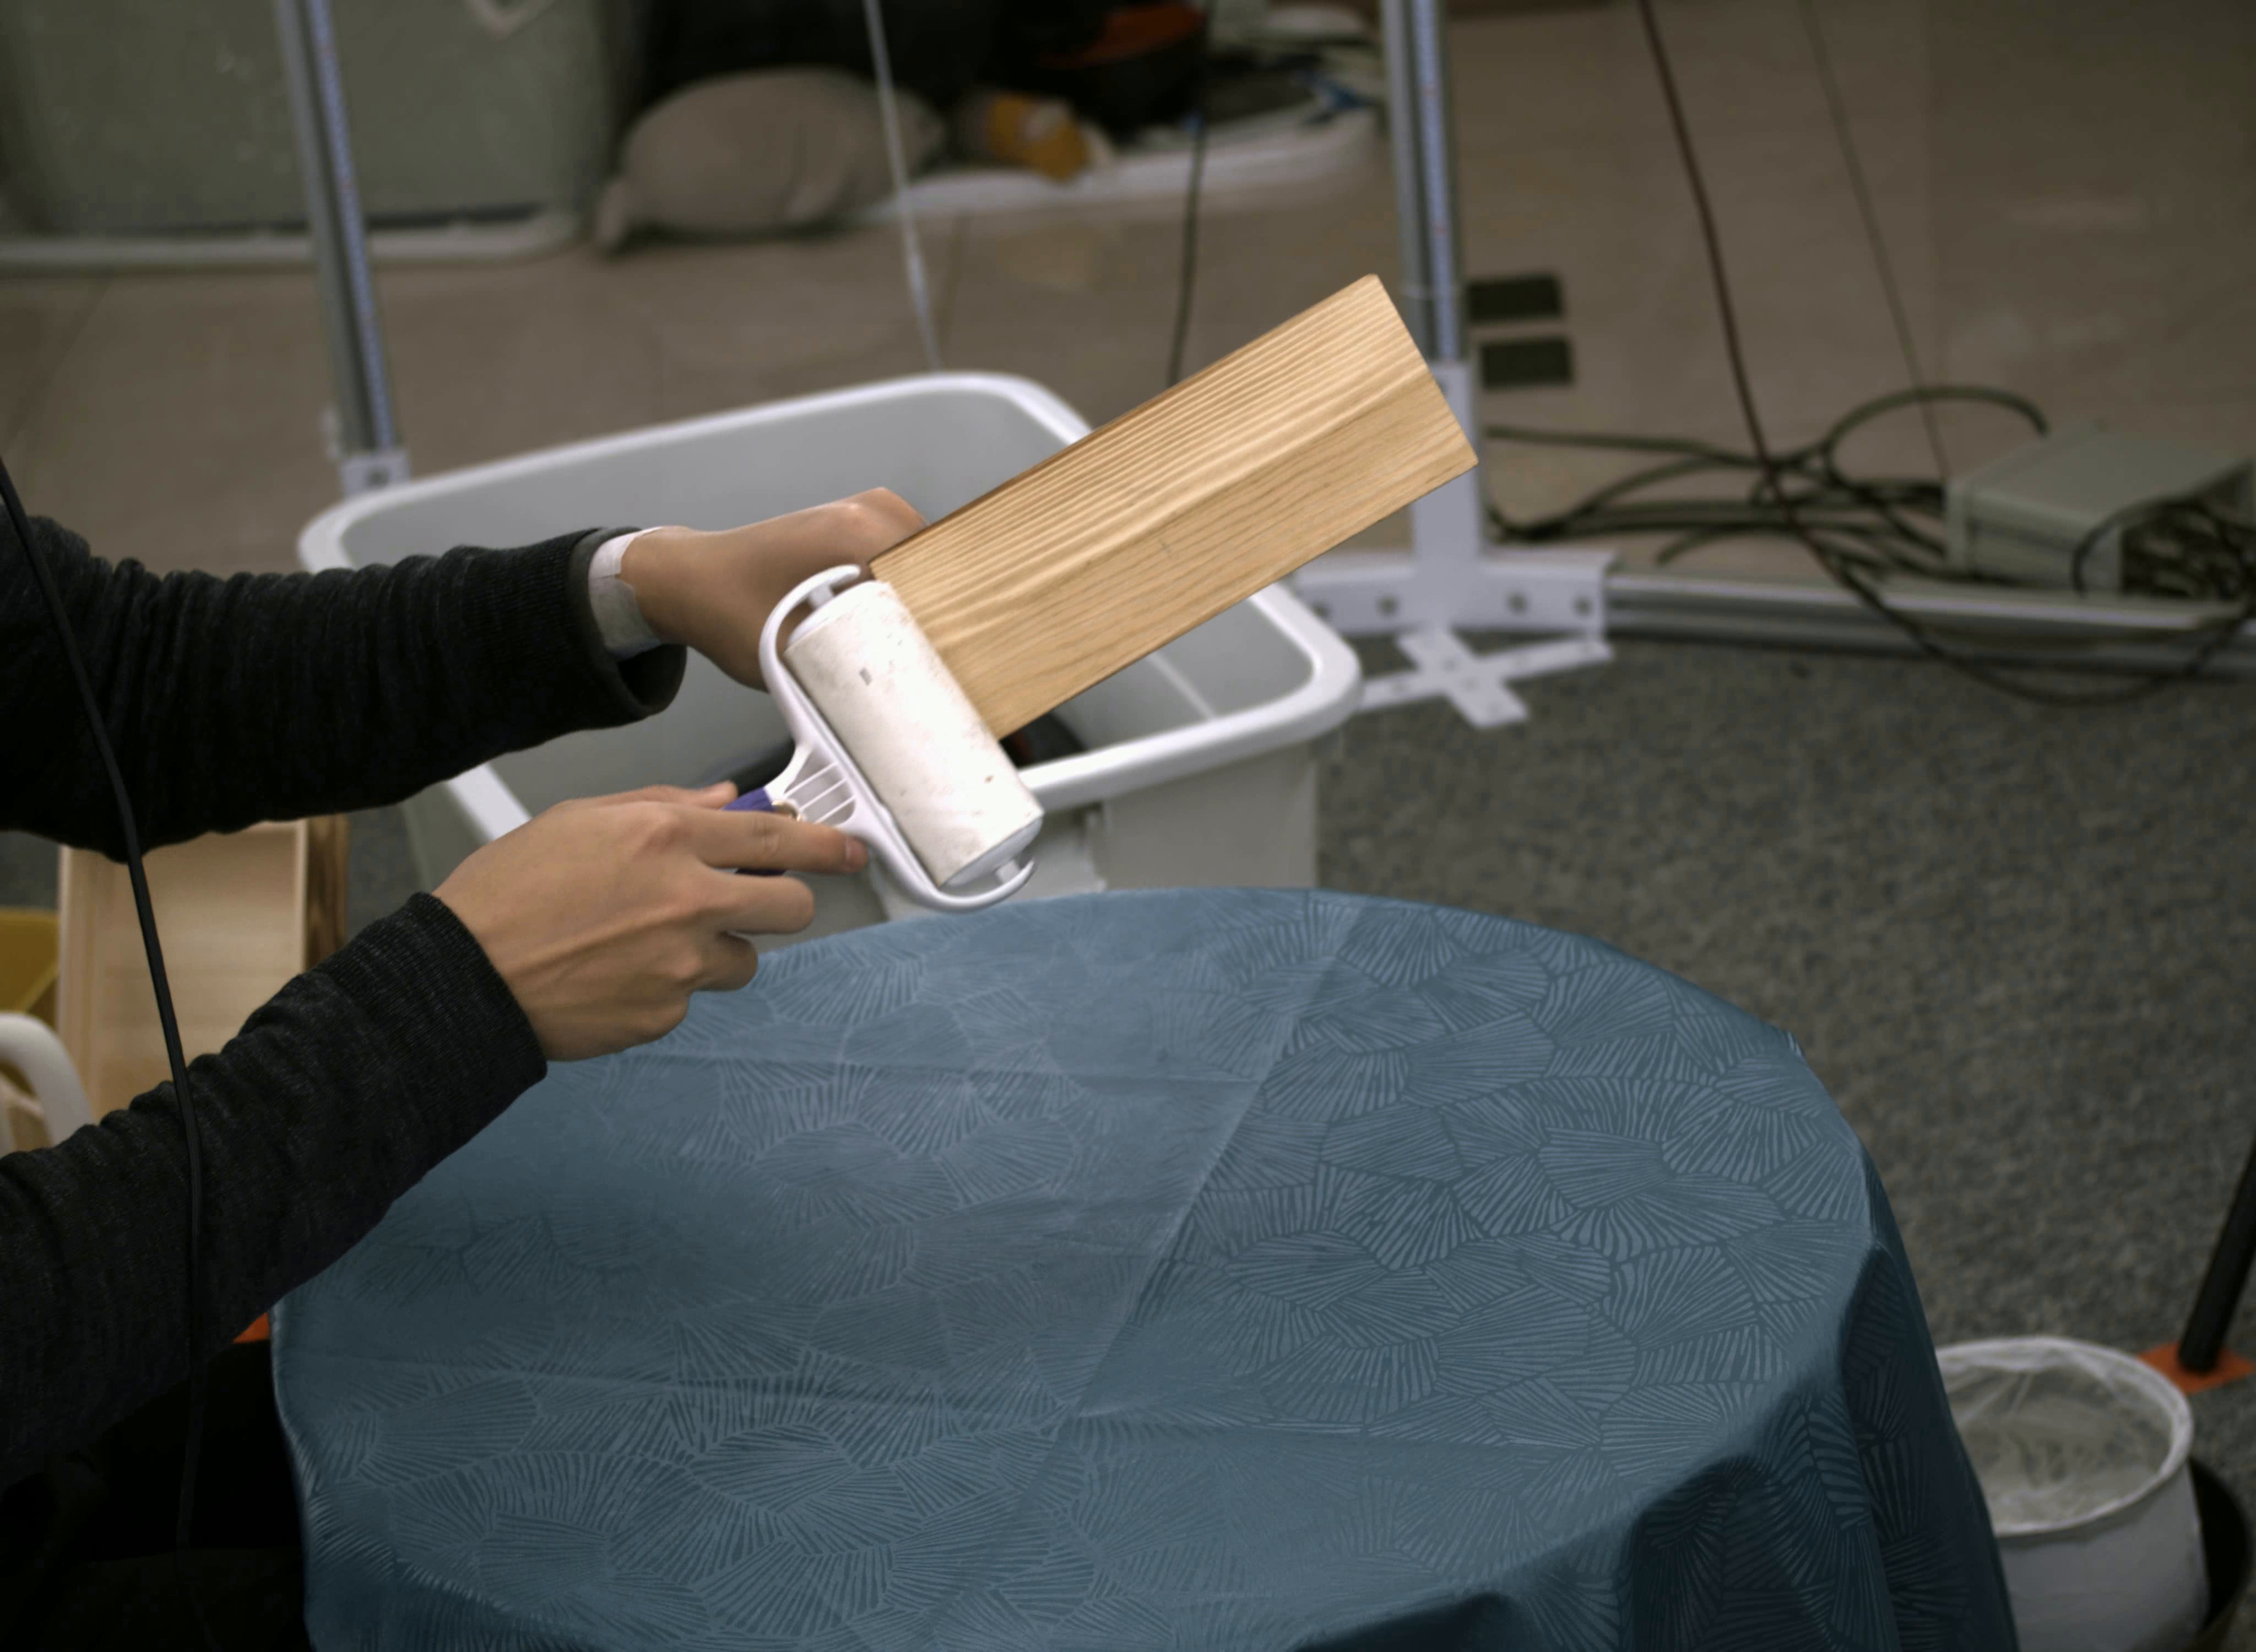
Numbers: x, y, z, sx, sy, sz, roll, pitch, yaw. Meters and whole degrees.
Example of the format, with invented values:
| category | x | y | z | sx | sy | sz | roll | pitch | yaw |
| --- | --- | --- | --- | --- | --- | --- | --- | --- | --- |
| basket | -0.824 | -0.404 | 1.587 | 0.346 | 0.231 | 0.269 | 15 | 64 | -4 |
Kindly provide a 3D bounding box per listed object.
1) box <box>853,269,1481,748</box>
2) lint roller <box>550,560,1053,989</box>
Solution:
| category | x | y | z | sx | sy | sz | roll | pitch | yaw |
| --- | --- | --- | --- | --- | --- | --- | --- | --- | --- |
| box | 0.012 | -0.113 | 2.067 | 0.211 | 0.080 | 0.107 | -30 | 4 | -5 |
| lint roller | -0.124 | -0.002 | 1.966 | 0.179 | 0.133 | 0.050 | -33 | 3 | -24 |
